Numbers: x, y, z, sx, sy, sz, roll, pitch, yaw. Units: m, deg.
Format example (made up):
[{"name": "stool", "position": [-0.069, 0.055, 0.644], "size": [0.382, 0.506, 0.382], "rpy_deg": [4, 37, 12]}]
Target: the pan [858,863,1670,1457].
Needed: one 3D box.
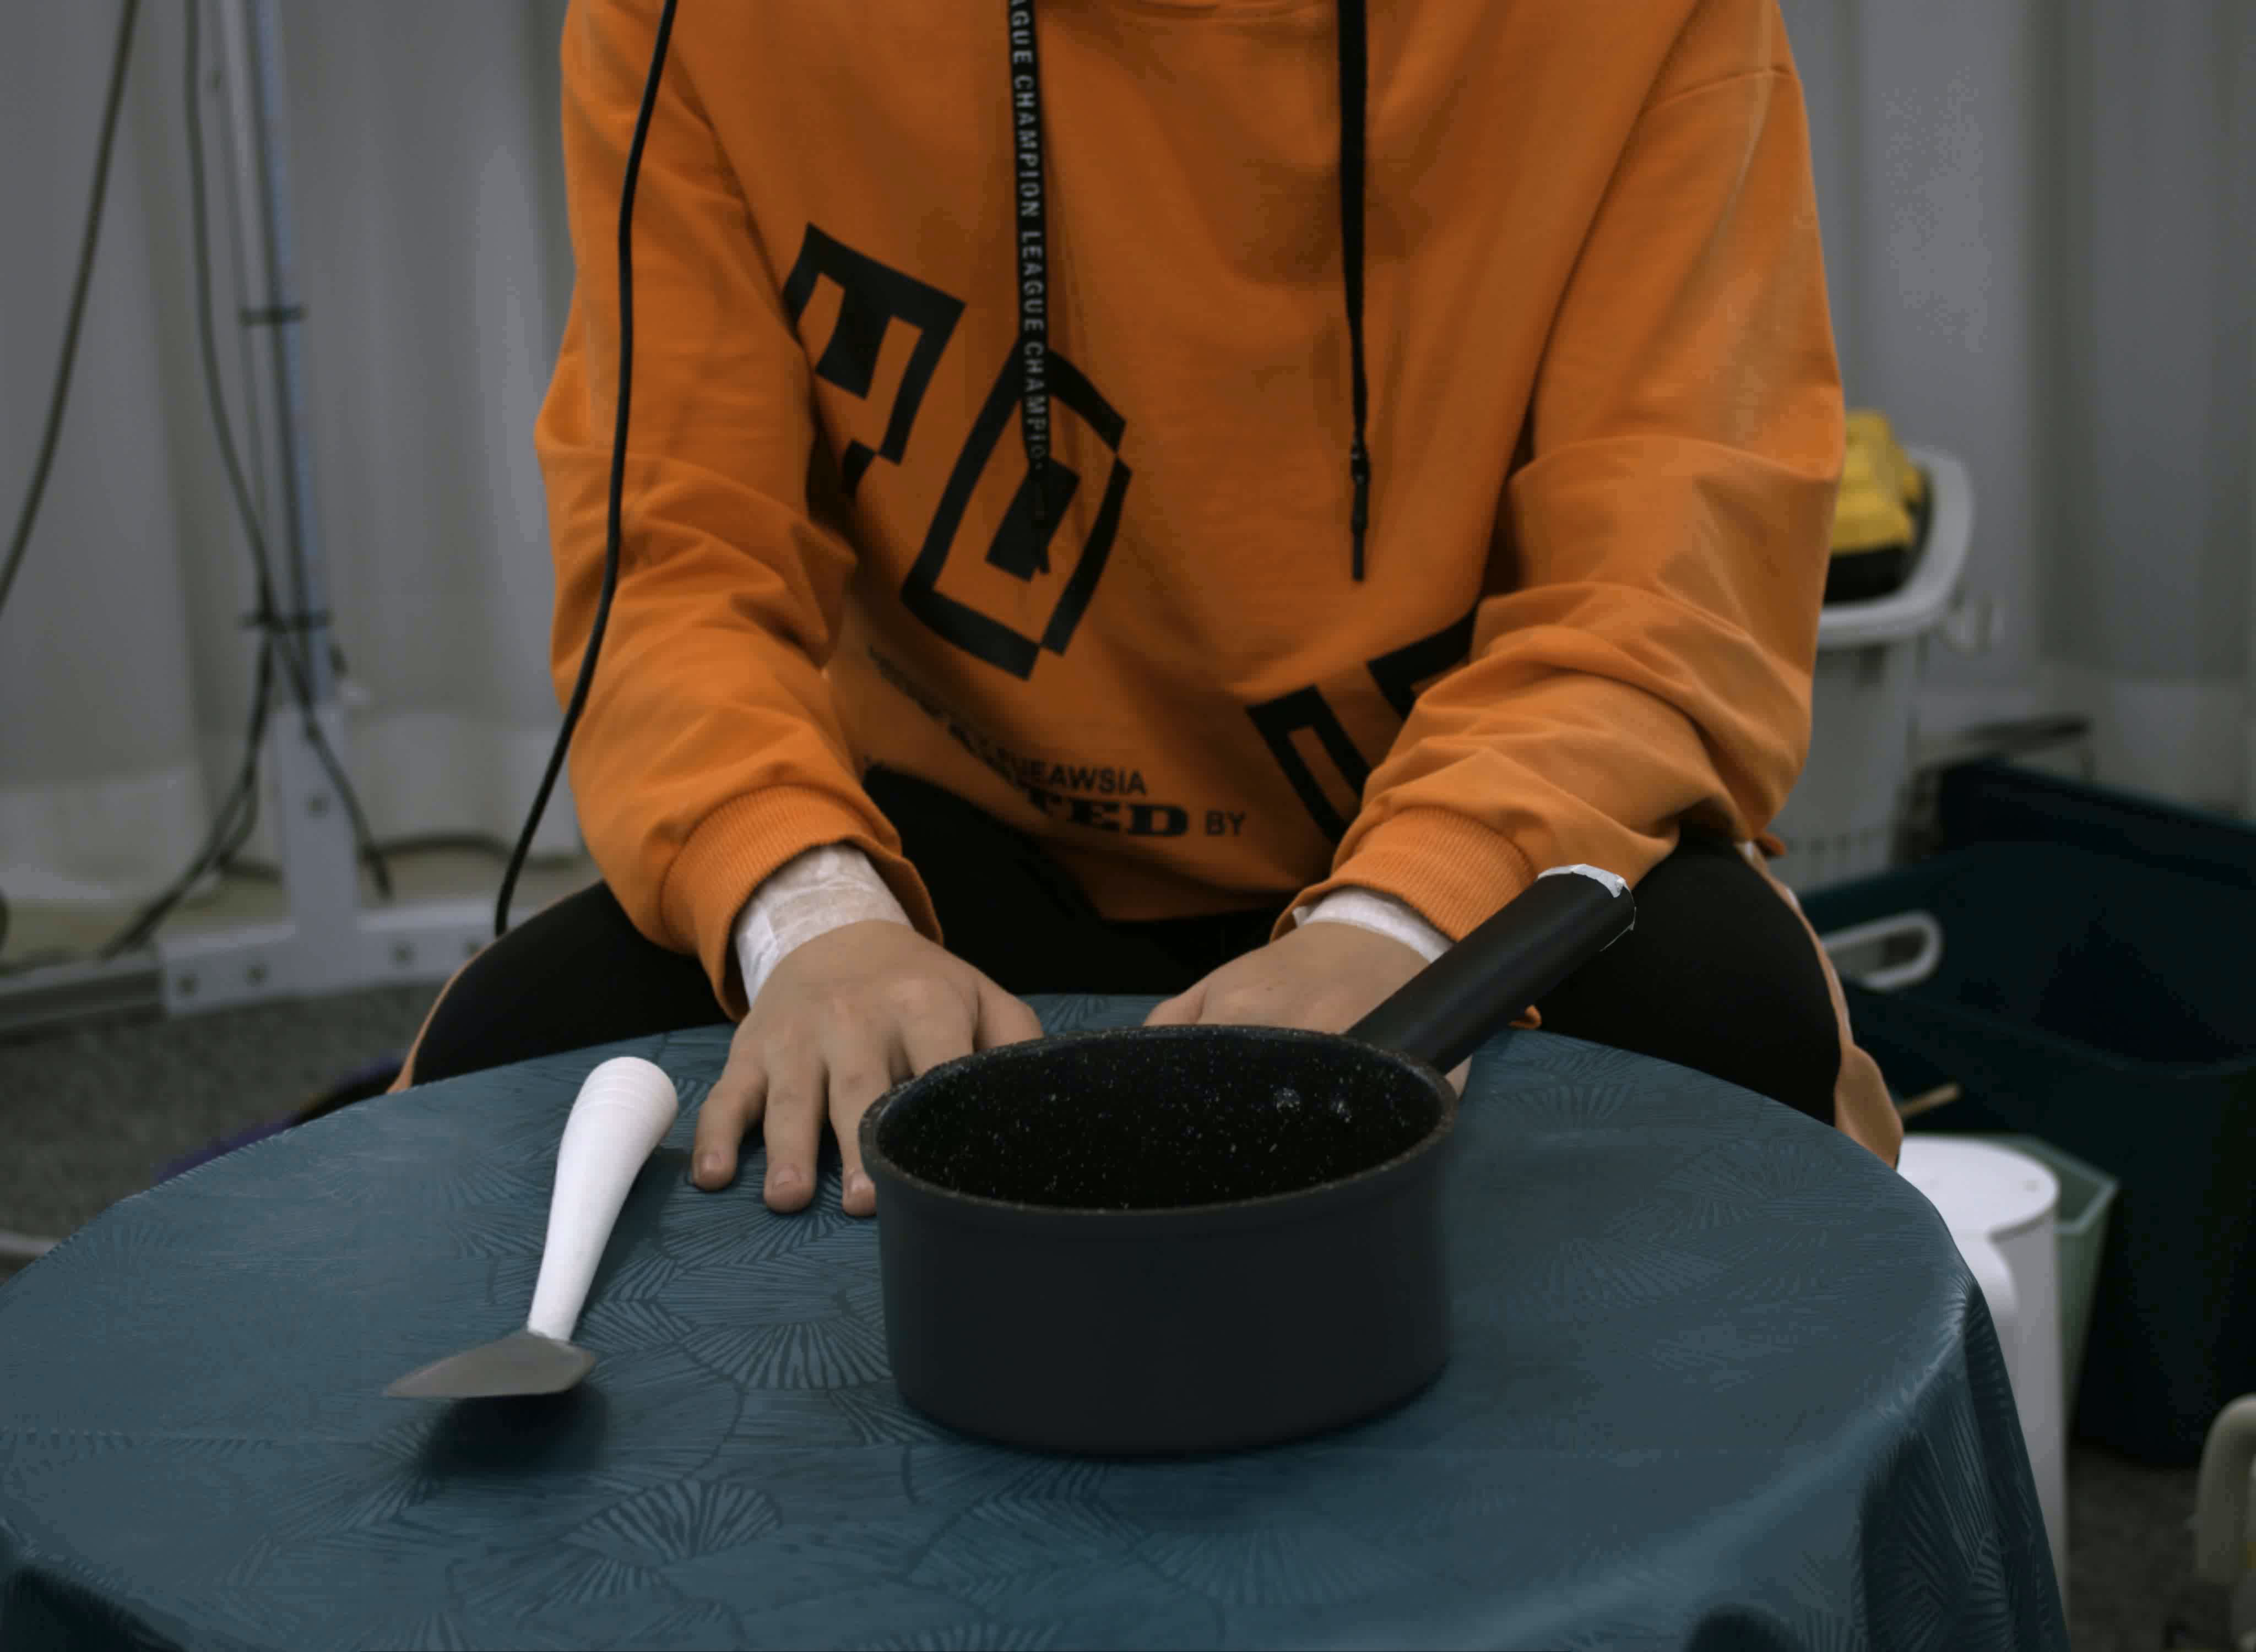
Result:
[{"name": "pan", "position": [0.059, 0.095, 1.616], "size": [0.173, 0.086, 0.329], "rpy_deg": [9, 21, 37]}]

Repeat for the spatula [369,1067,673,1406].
[{"name": "spatula", "position": [-0.172, 0.129, 1.635], "size": [0.058, 0.032, 0.289], "rpy_deg": [3, 15, 3]}]
